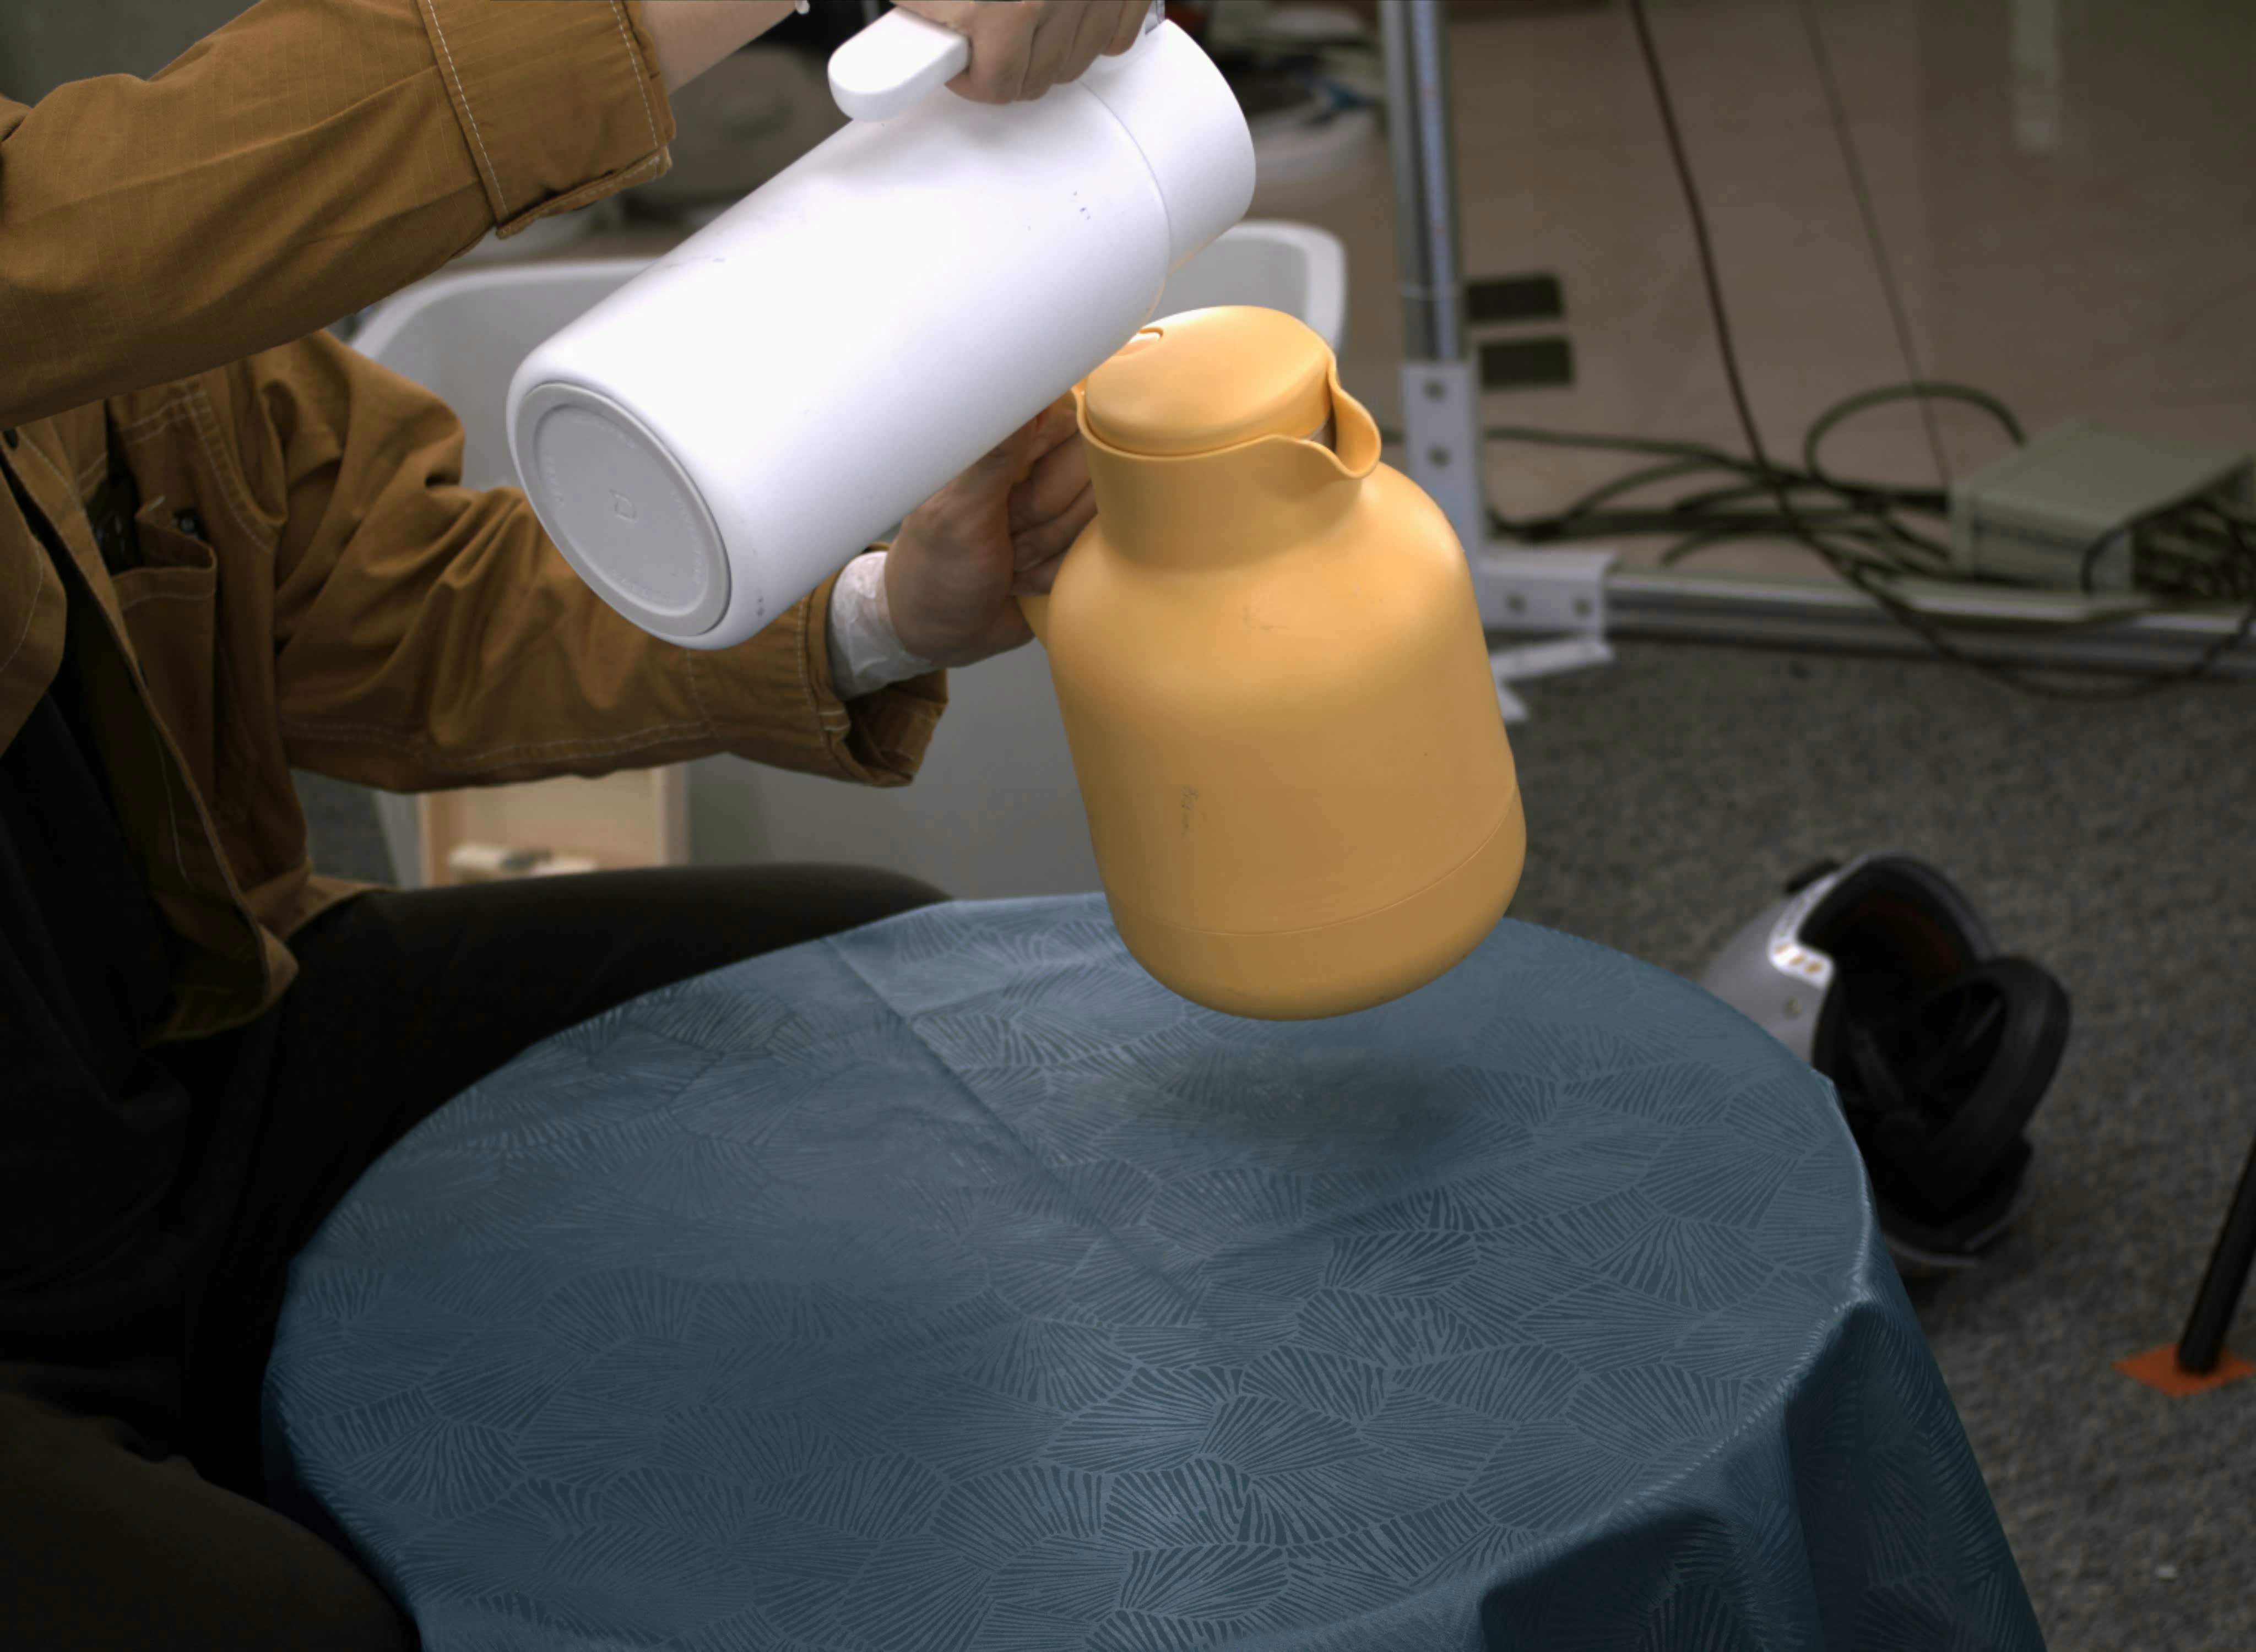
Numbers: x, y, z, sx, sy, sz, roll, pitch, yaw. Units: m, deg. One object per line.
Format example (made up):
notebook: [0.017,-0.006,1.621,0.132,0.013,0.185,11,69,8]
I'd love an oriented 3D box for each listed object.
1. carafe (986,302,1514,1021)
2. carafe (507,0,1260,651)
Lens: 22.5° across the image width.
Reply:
carafe: [0.038,-0.072,2.115,0.200,0.265,0.162,23,46,39]
carafe: [-0.078,-0.187,1.890,0.122,0.176,0.266,35,58,27]
